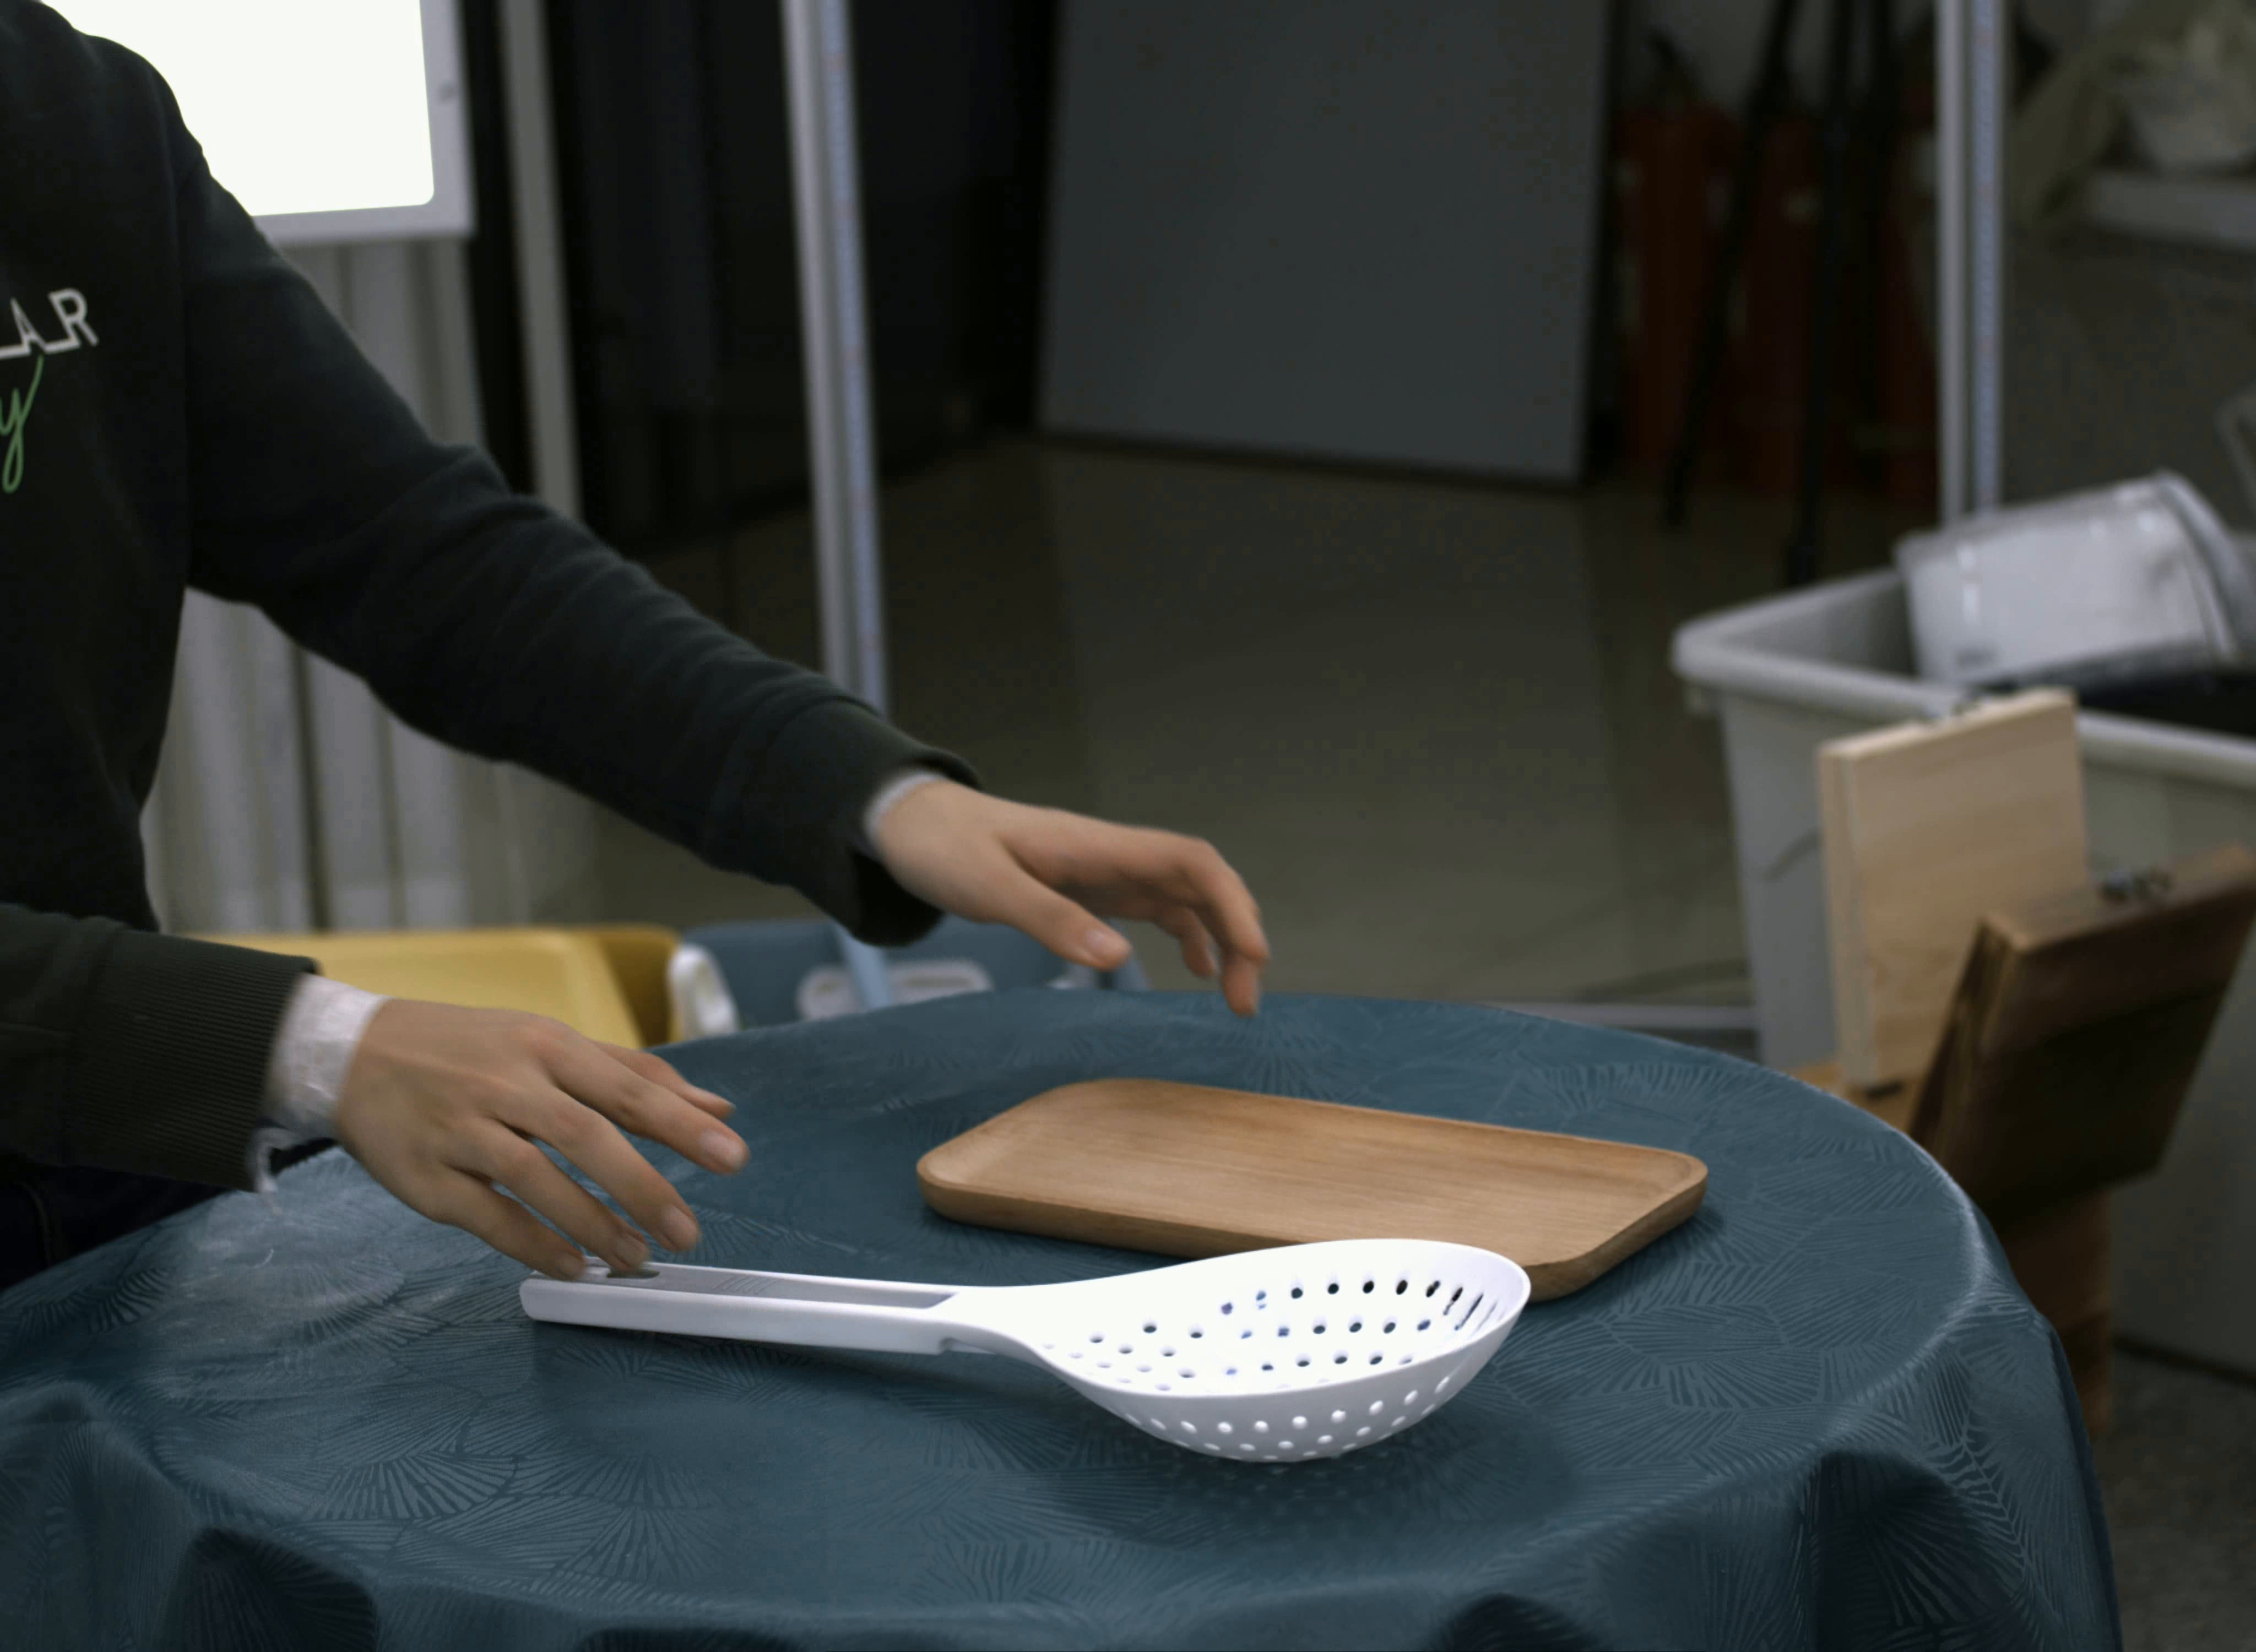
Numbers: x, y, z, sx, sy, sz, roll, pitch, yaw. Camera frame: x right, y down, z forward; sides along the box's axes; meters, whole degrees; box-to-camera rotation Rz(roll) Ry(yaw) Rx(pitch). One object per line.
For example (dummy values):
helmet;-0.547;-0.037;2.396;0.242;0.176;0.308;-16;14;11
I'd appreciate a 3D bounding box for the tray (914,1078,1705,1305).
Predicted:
tray;0.057;0.116;1.739;0.252;0.023;0.128;5;14;34

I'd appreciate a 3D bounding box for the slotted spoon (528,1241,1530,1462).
slotted spoon;-0.039;0.146;1.588;0.352;0.046;0.134;5;16;35
